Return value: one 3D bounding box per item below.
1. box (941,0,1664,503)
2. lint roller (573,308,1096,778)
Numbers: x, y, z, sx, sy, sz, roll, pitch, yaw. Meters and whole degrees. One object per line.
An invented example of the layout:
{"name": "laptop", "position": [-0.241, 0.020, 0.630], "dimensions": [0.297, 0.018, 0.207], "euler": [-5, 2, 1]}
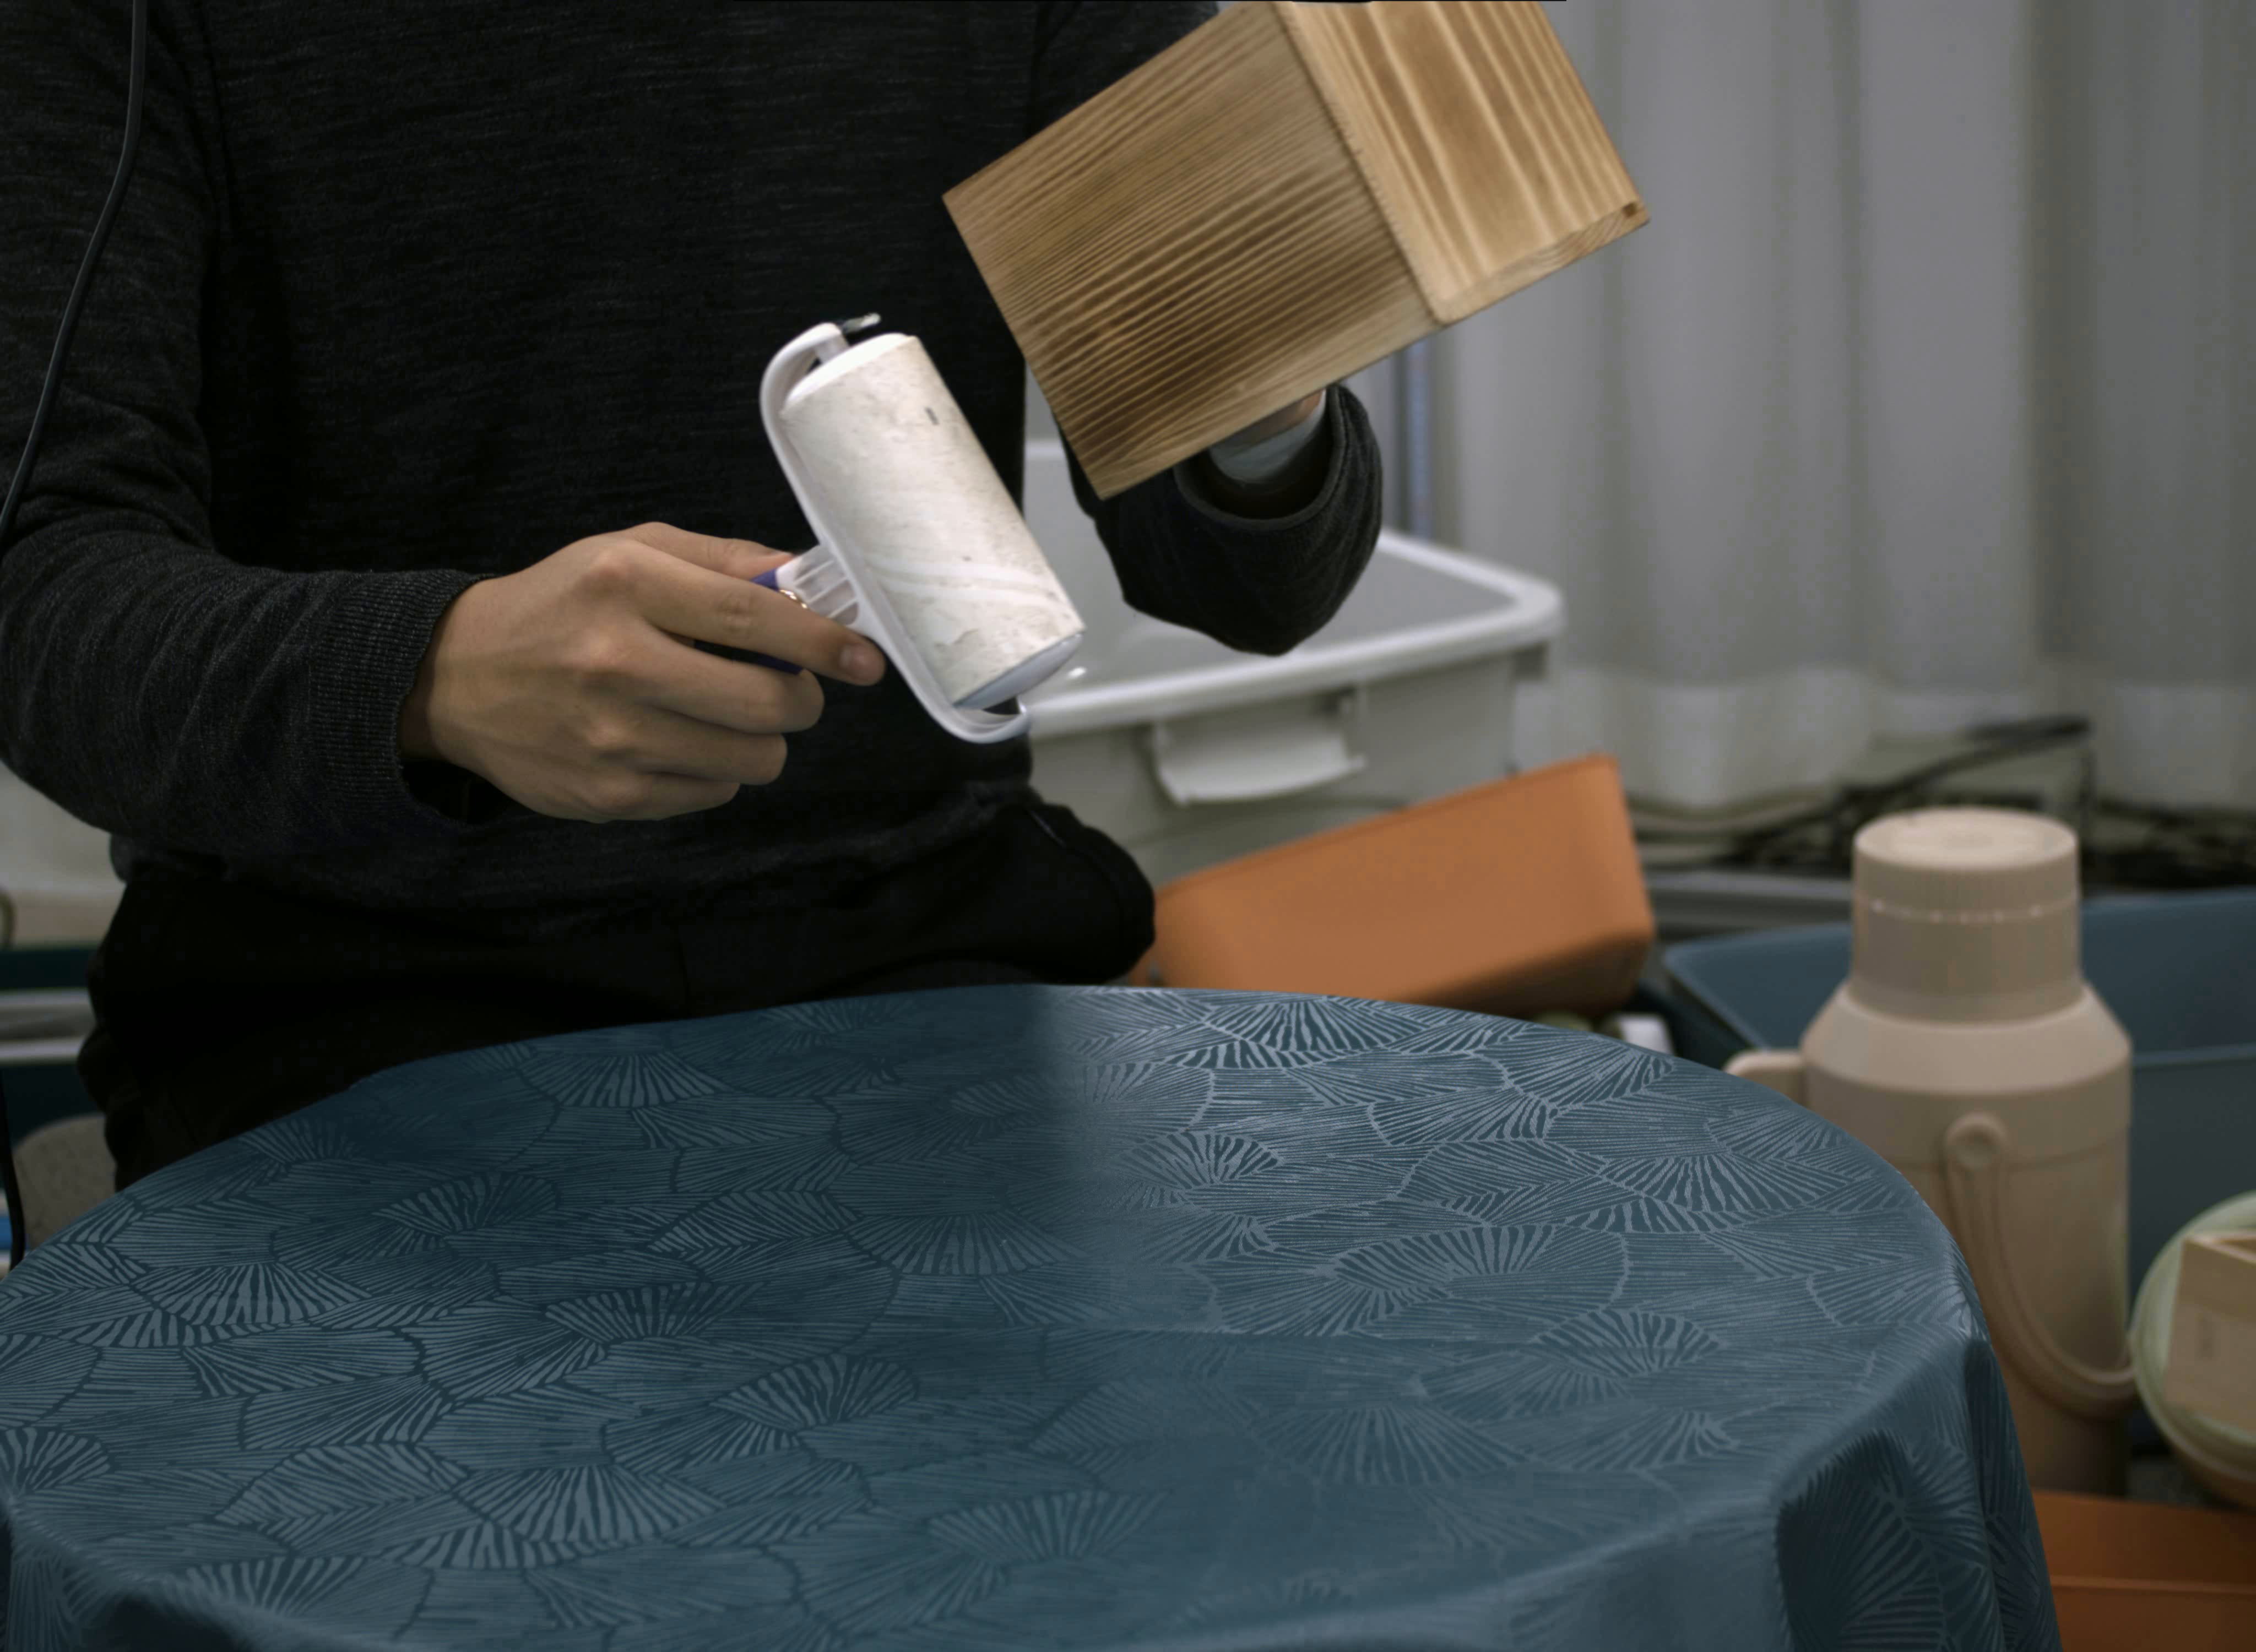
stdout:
{"name": "box", "position": [0.046, -0.181, 1.585], "dimensions": [0.080, 0.107, 0.211], "euler": [-30, 4, -30]}
{"name": "lint roller", "position": [-0.105, -0.061, 1.622], "dimensions": [0.180, 0.133, 0.050], "euler": [-29, -1, 25]}
